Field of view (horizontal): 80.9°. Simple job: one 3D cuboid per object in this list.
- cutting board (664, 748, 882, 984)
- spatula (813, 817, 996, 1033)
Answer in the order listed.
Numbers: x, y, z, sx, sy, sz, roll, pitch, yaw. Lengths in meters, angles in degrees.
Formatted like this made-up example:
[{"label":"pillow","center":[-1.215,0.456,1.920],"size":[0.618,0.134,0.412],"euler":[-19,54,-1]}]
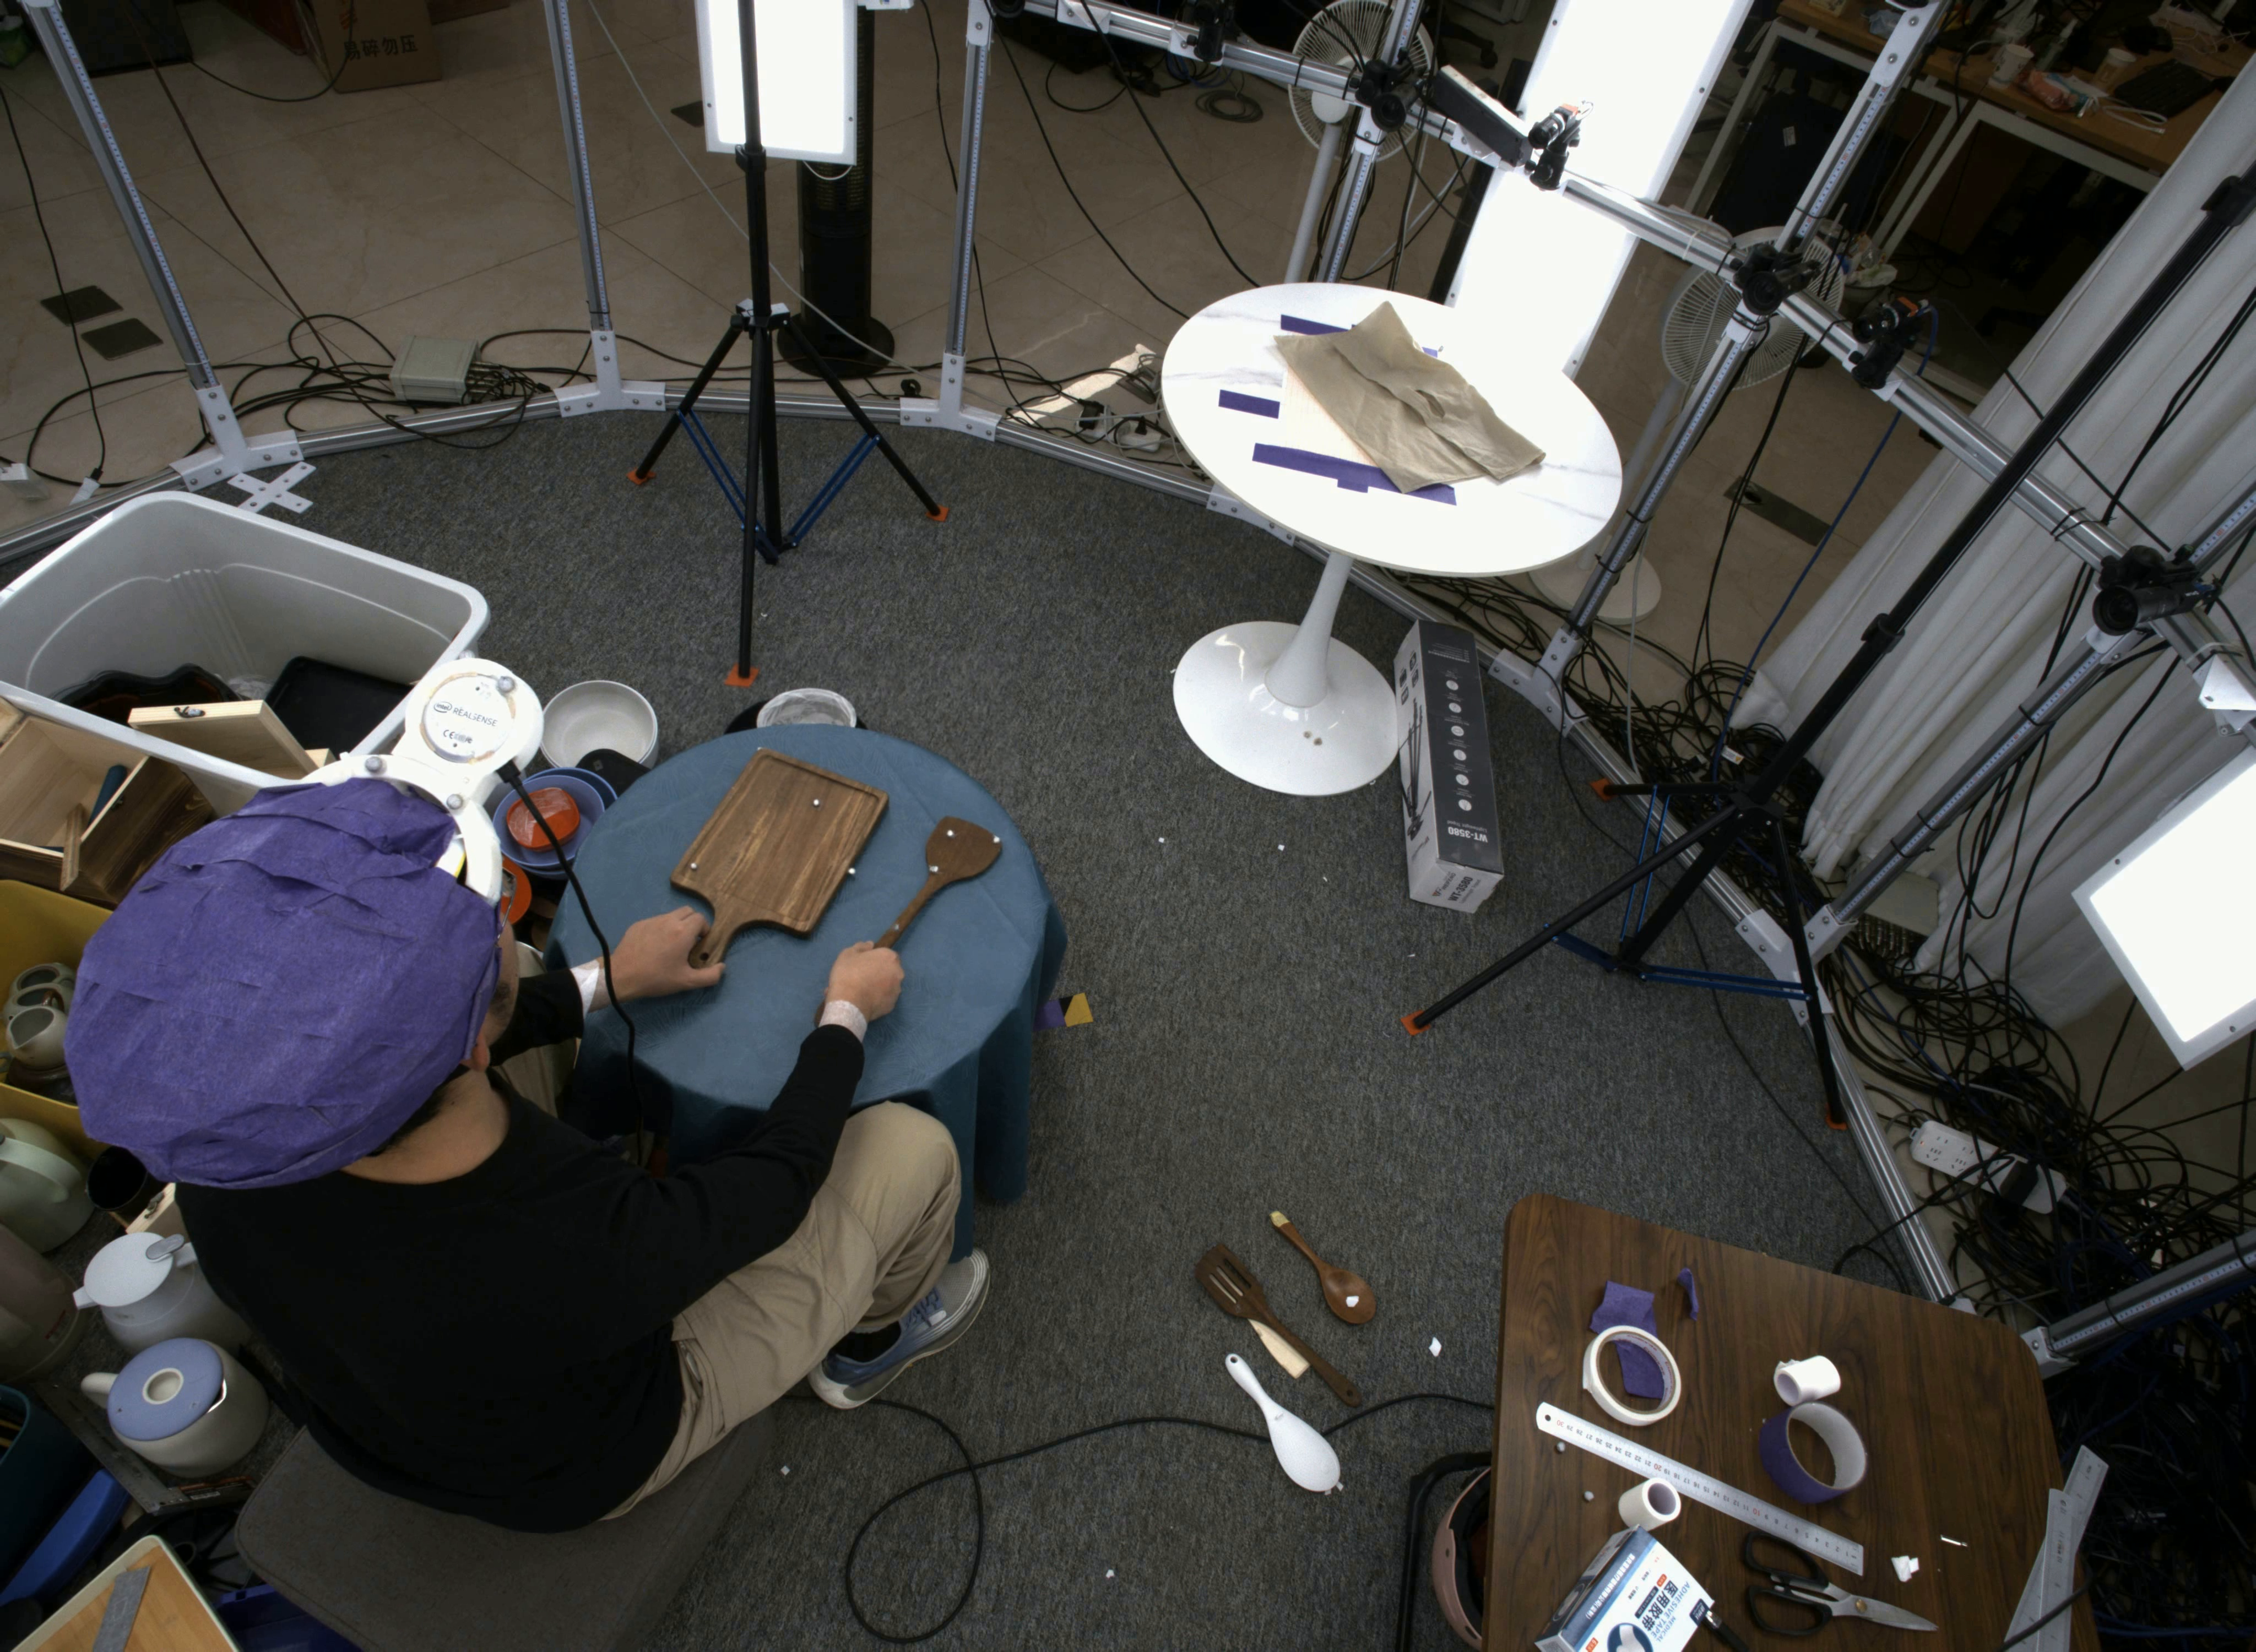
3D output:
[{"label":"cutting board","center":[-0.471,0.052,1.654],"size":[0.199,0.023,0.348],"euler":[20,51,1]},{"label":"spatula","center":[-0.286,0.117,1.642],"size":[0.095,0.016,0.383],"euler":[26,46,6]}]
